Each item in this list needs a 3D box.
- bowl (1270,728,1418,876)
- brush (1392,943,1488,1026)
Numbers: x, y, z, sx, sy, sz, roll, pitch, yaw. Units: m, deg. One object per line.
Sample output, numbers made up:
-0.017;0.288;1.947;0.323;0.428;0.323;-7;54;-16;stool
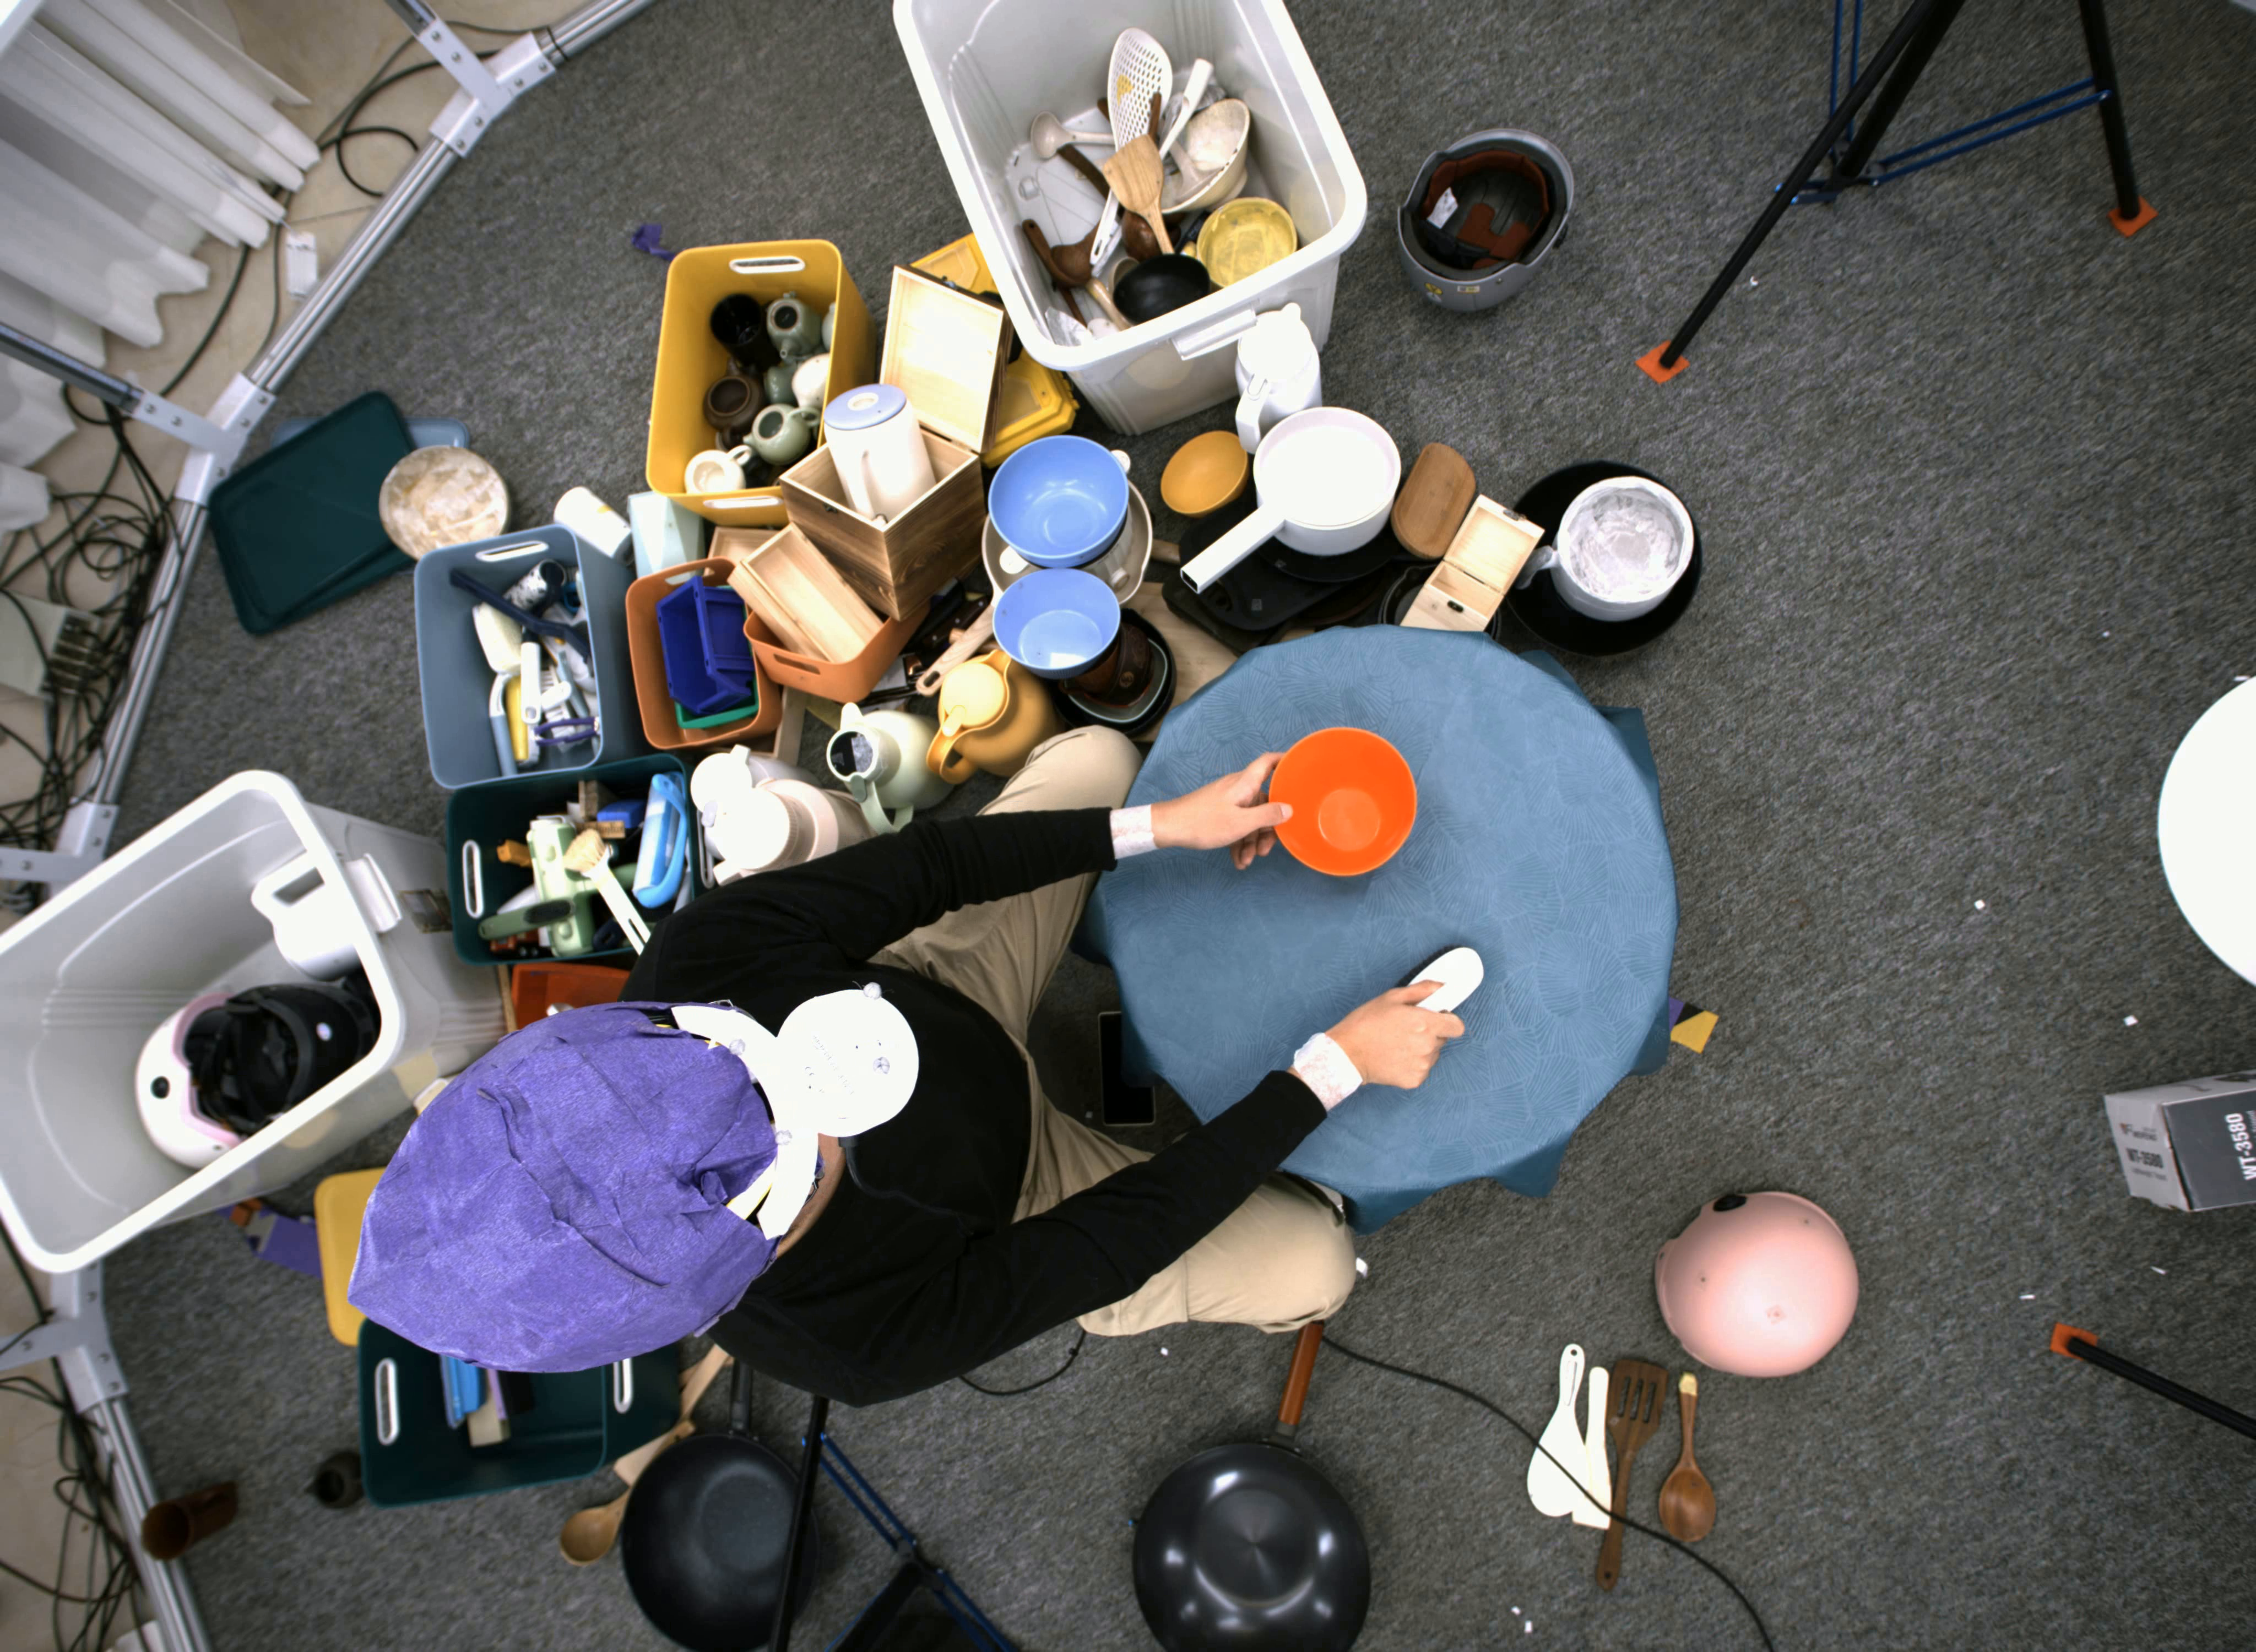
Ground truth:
0.224;-0.022;1.424;0.148;0.104;0.147;-1;87;11;bowl
0.320;0.163;1.399;0.099;0.072;0.050;-37;98;0;brush
